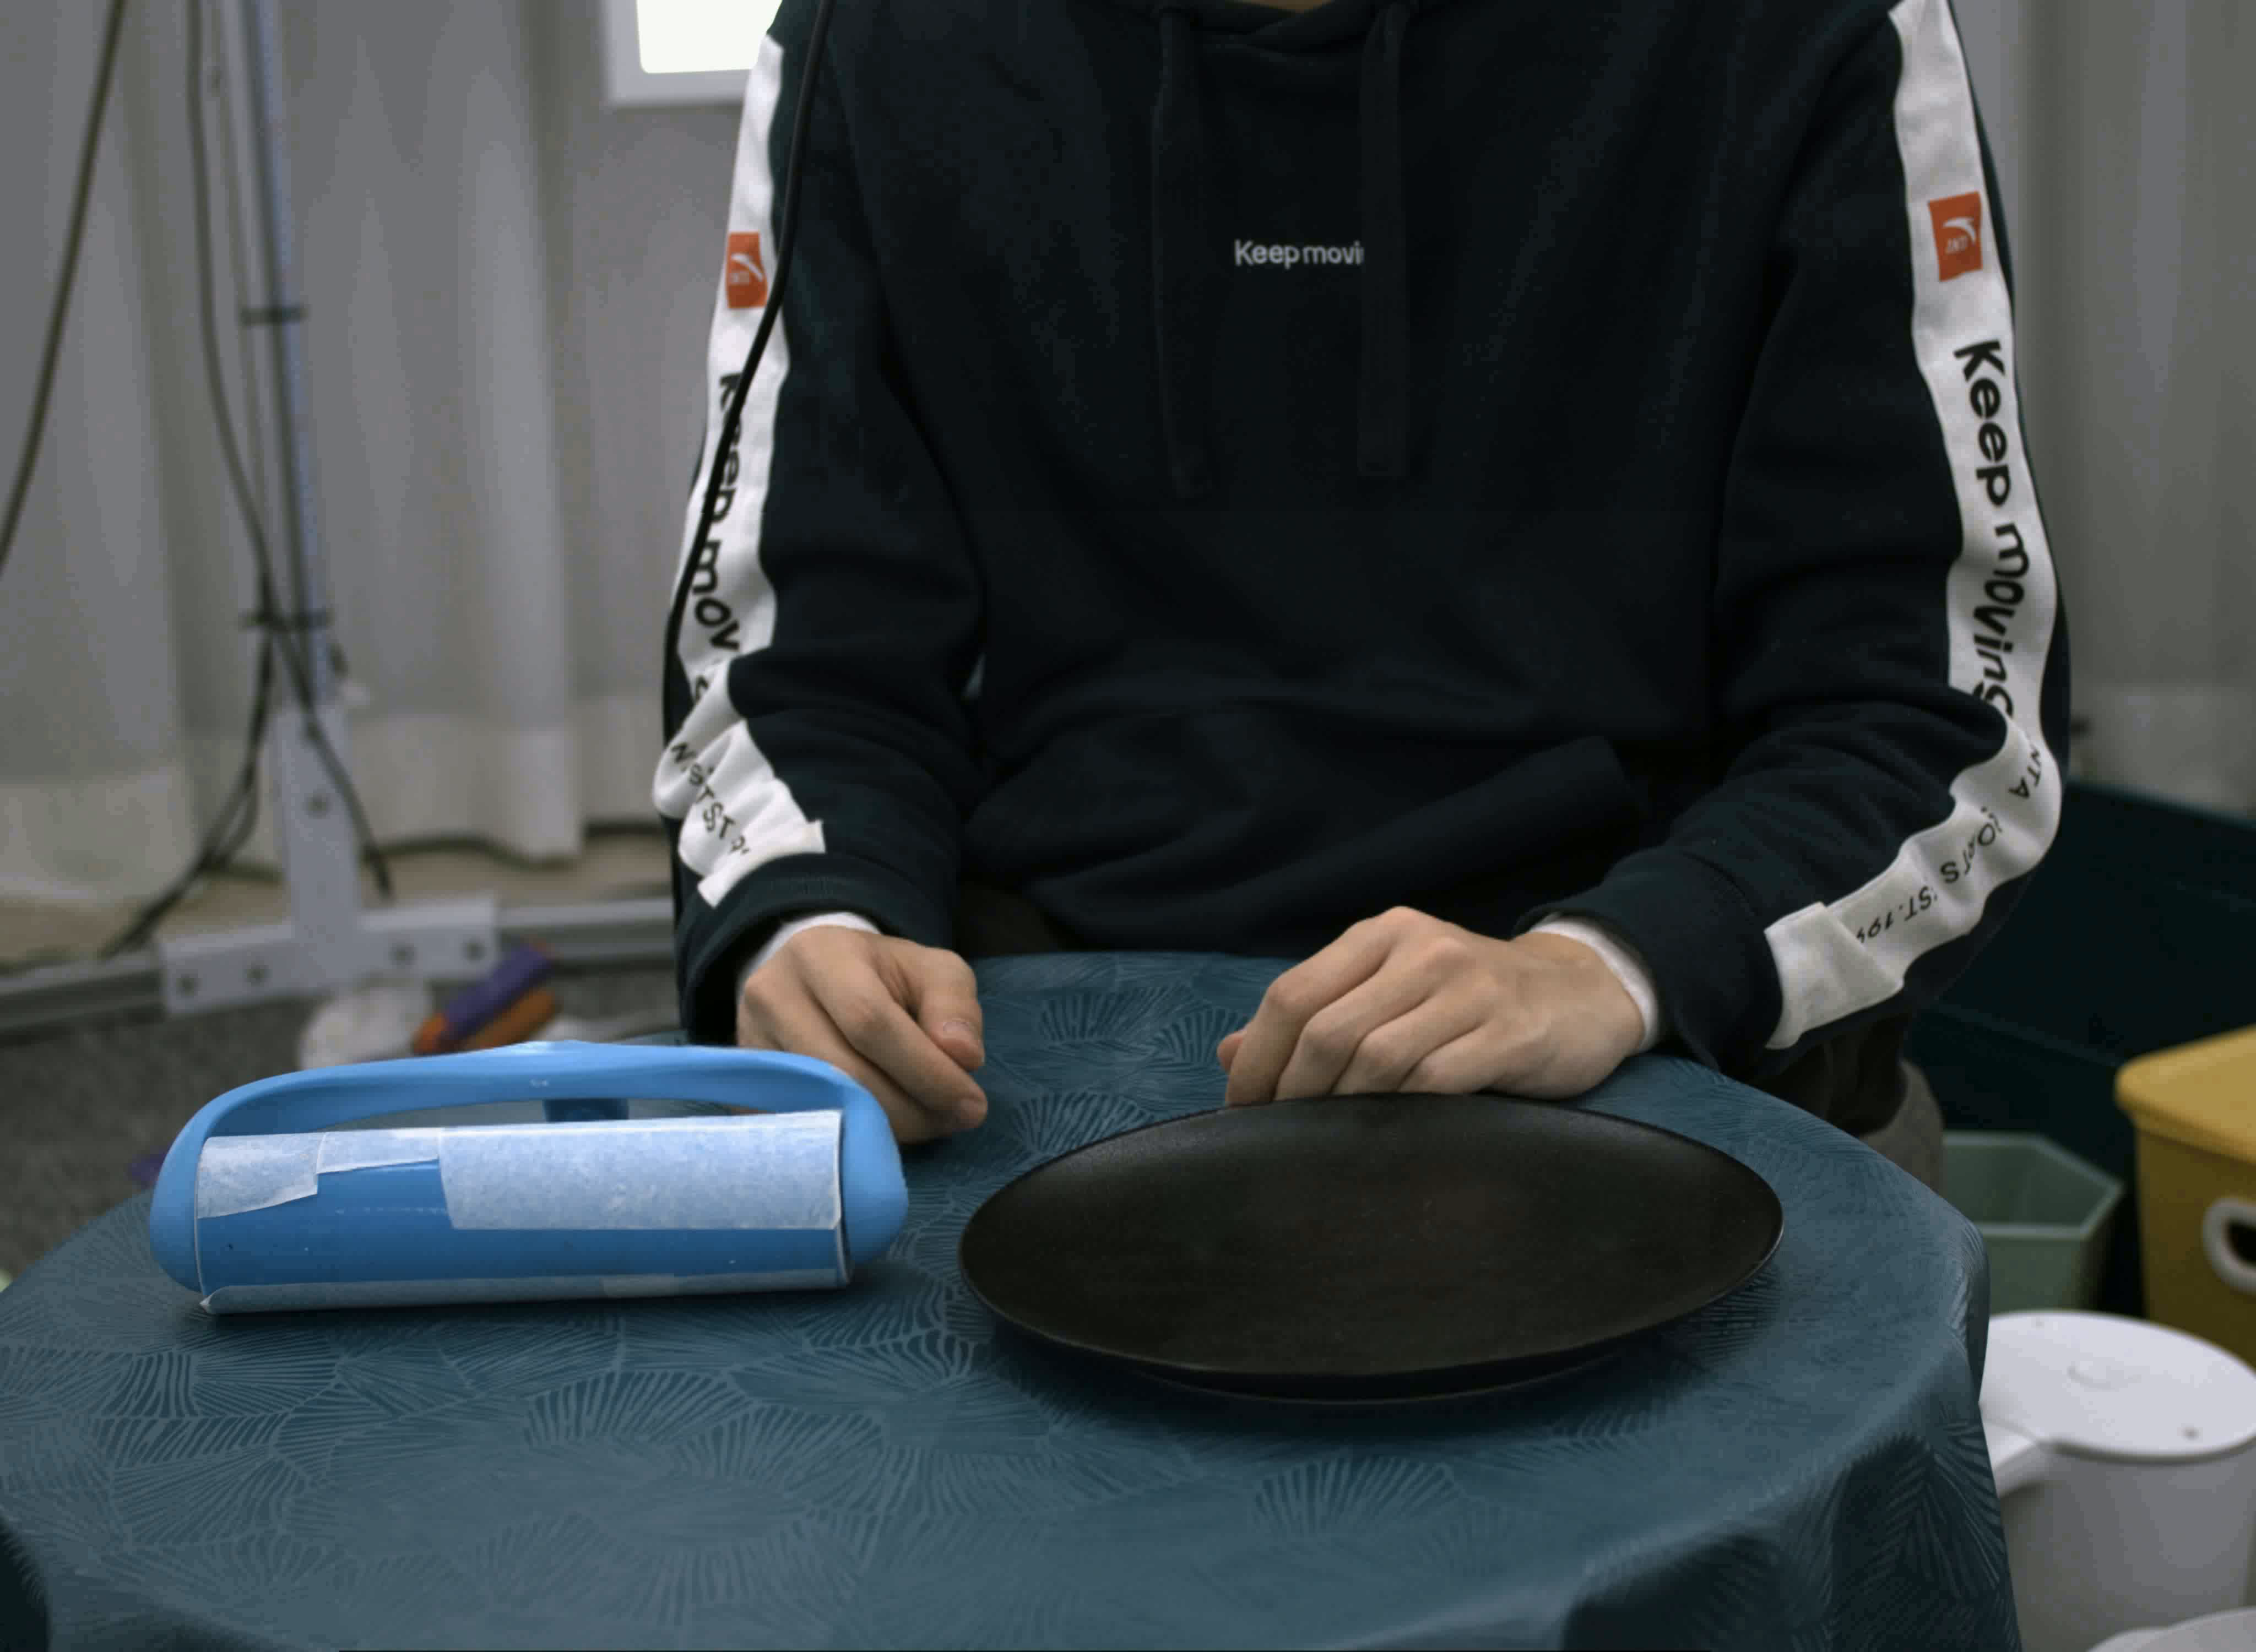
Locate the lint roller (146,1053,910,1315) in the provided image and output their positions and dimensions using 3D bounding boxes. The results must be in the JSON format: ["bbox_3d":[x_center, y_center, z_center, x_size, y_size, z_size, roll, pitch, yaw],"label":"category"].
[{"bbox_3d":[-0.181,0.101,1.696,0.228,0.067,0.181,-4,14,-1],"label":"lint roller"}]

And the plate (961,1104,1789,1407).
[{"bbox_3d":[0.072,0.128,1.607,0.243,0.023,0.246,-3,15,0],"label":"plate"}]
